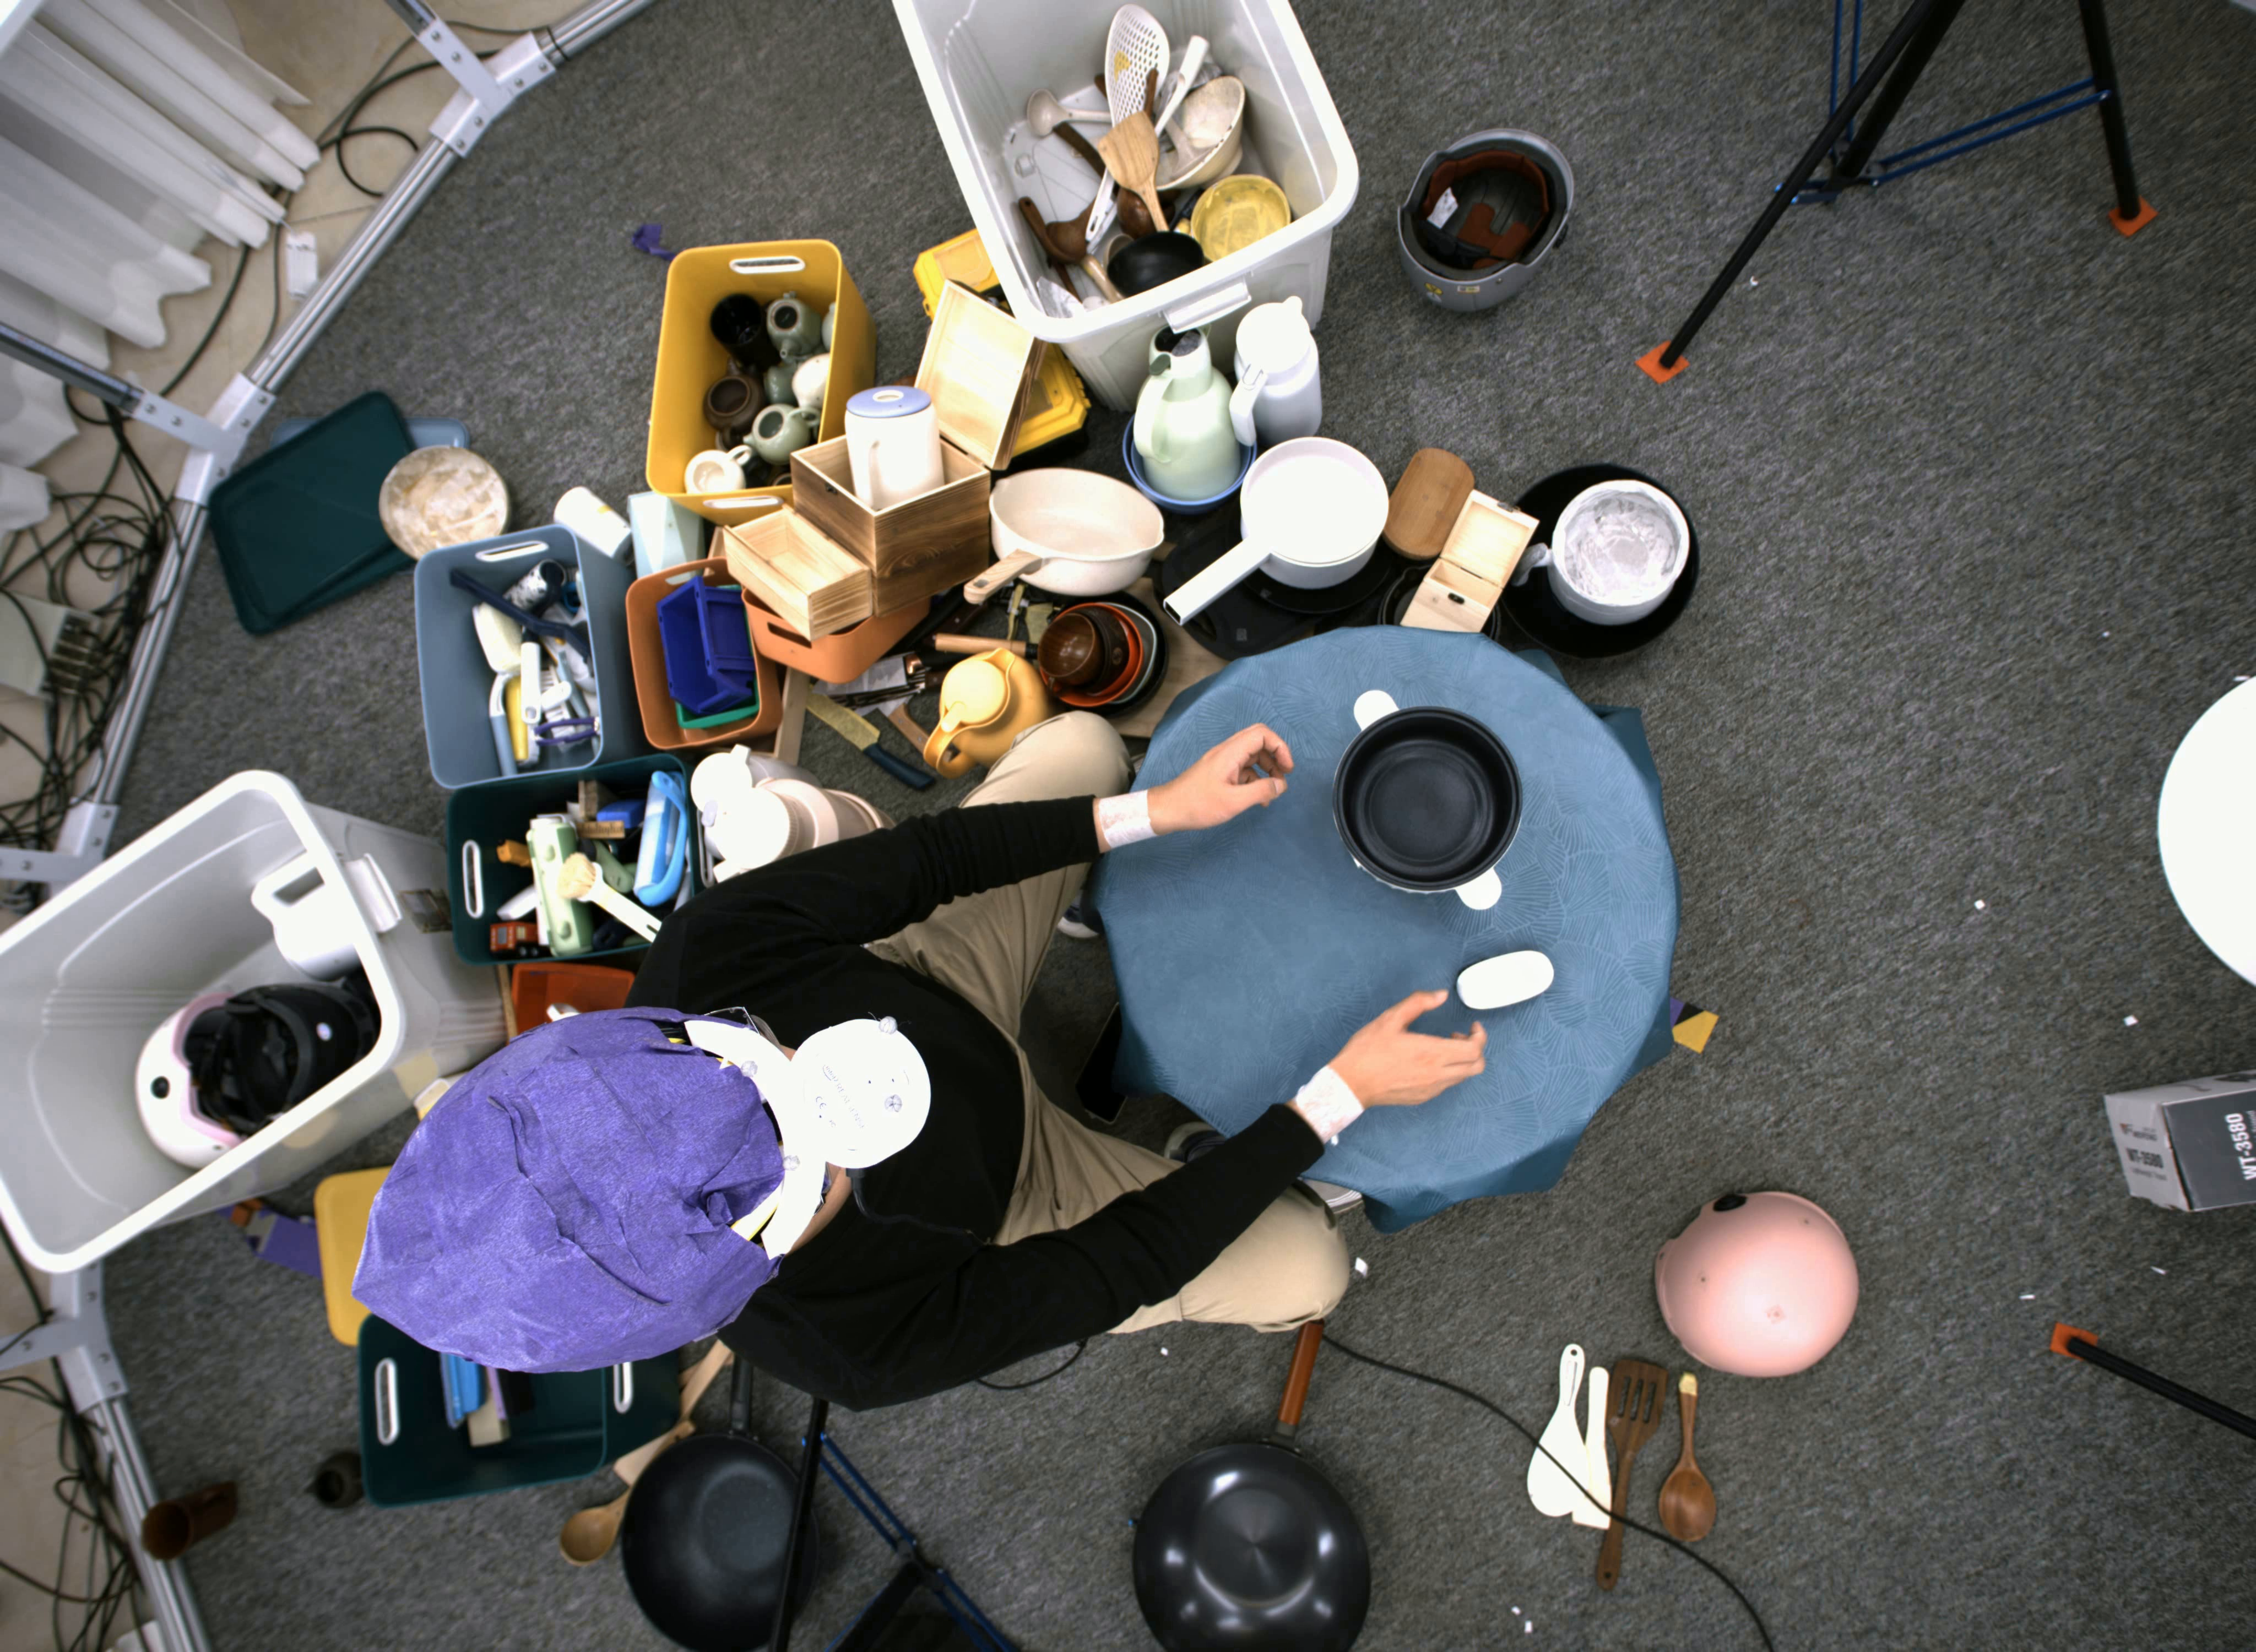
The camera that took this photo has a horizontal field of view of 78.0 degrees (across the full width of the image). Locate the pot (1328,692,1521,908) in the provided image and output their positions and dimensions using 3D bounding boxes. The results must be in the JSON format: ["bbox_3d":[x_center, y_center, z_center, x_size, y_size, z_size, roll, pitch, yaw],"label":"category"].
[{"bbox_3d":[0.302,-0.026,1.390,0.192,0.142,0.239,-31,83,9],"label":"pot"}]

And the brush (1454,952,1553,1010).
[{"bbox_3d":[0.382,0.155,1.398,0.100,0.072,0.050,-16,81,9],"label":"brush"}]
